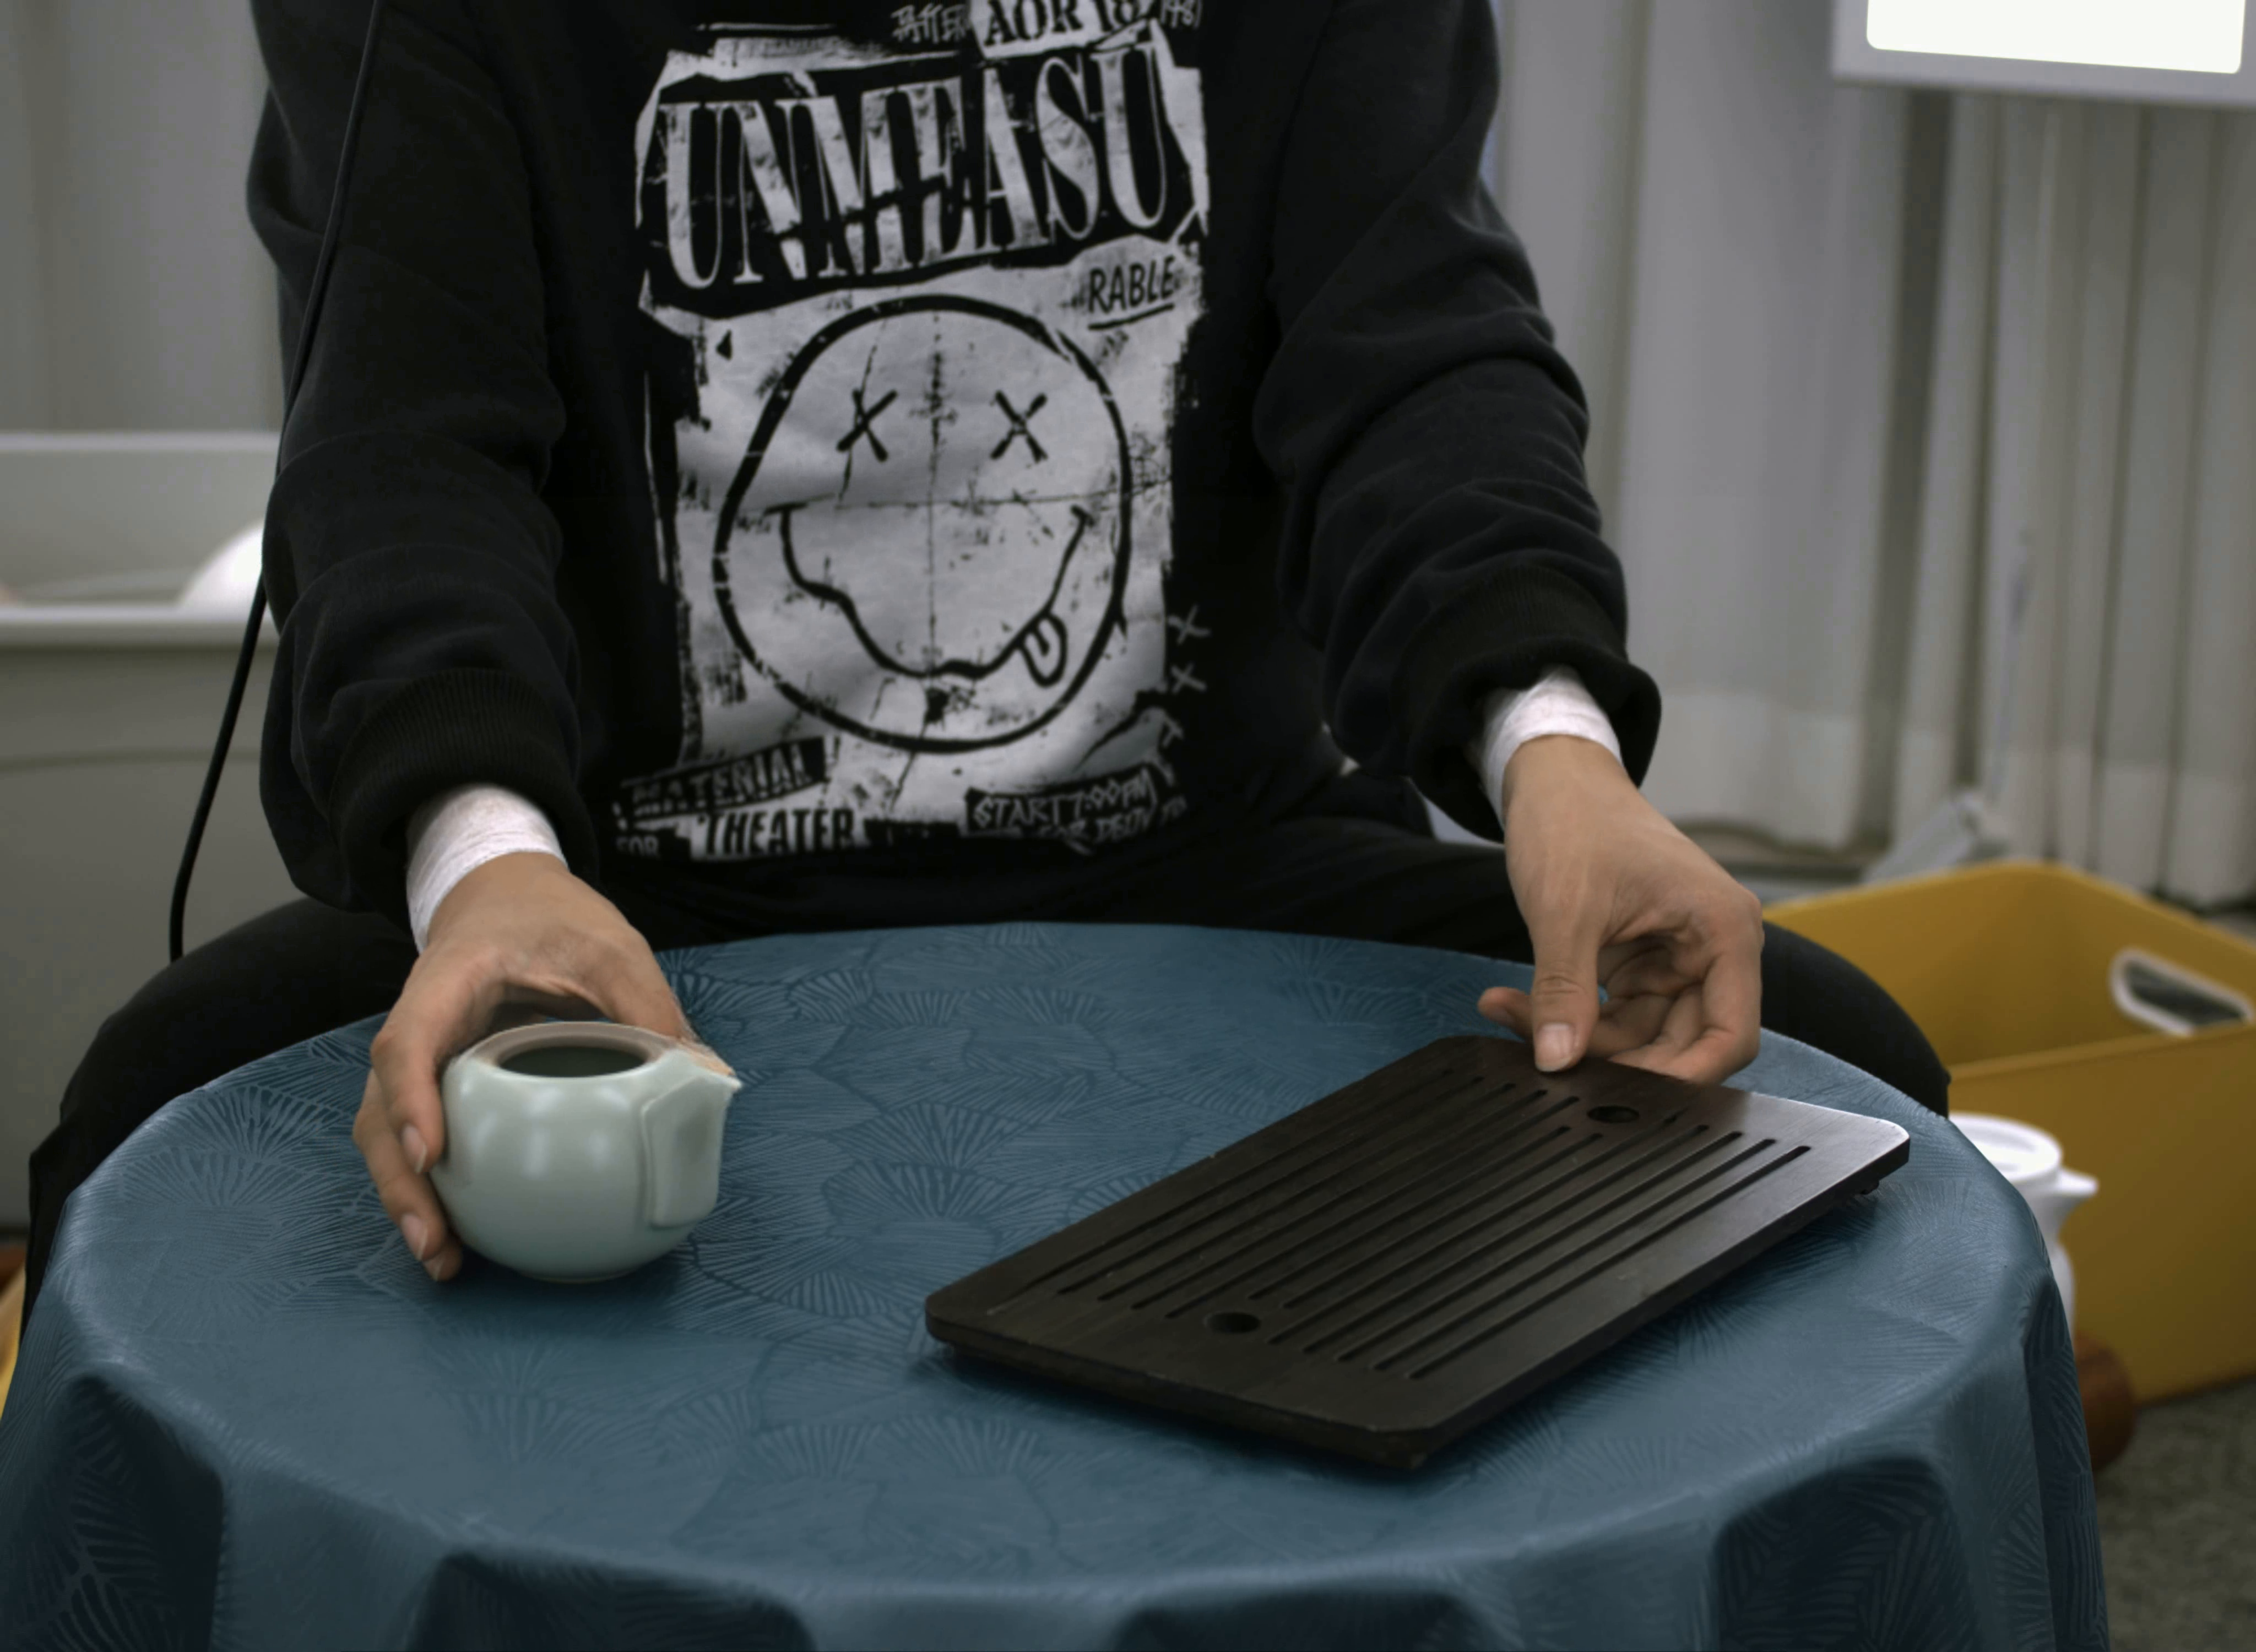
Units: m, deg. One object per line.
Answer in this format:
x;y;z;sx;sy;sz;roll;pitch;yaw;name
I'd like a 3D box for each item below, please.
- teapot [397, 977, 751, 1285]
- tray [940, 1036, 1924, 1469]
-0.163;0.093;1.549;0.142;0.075;0.089;17;22;40;teapot
0.096;0.122;1.554;0.168;0.019;0.307;11;19;33;tray
